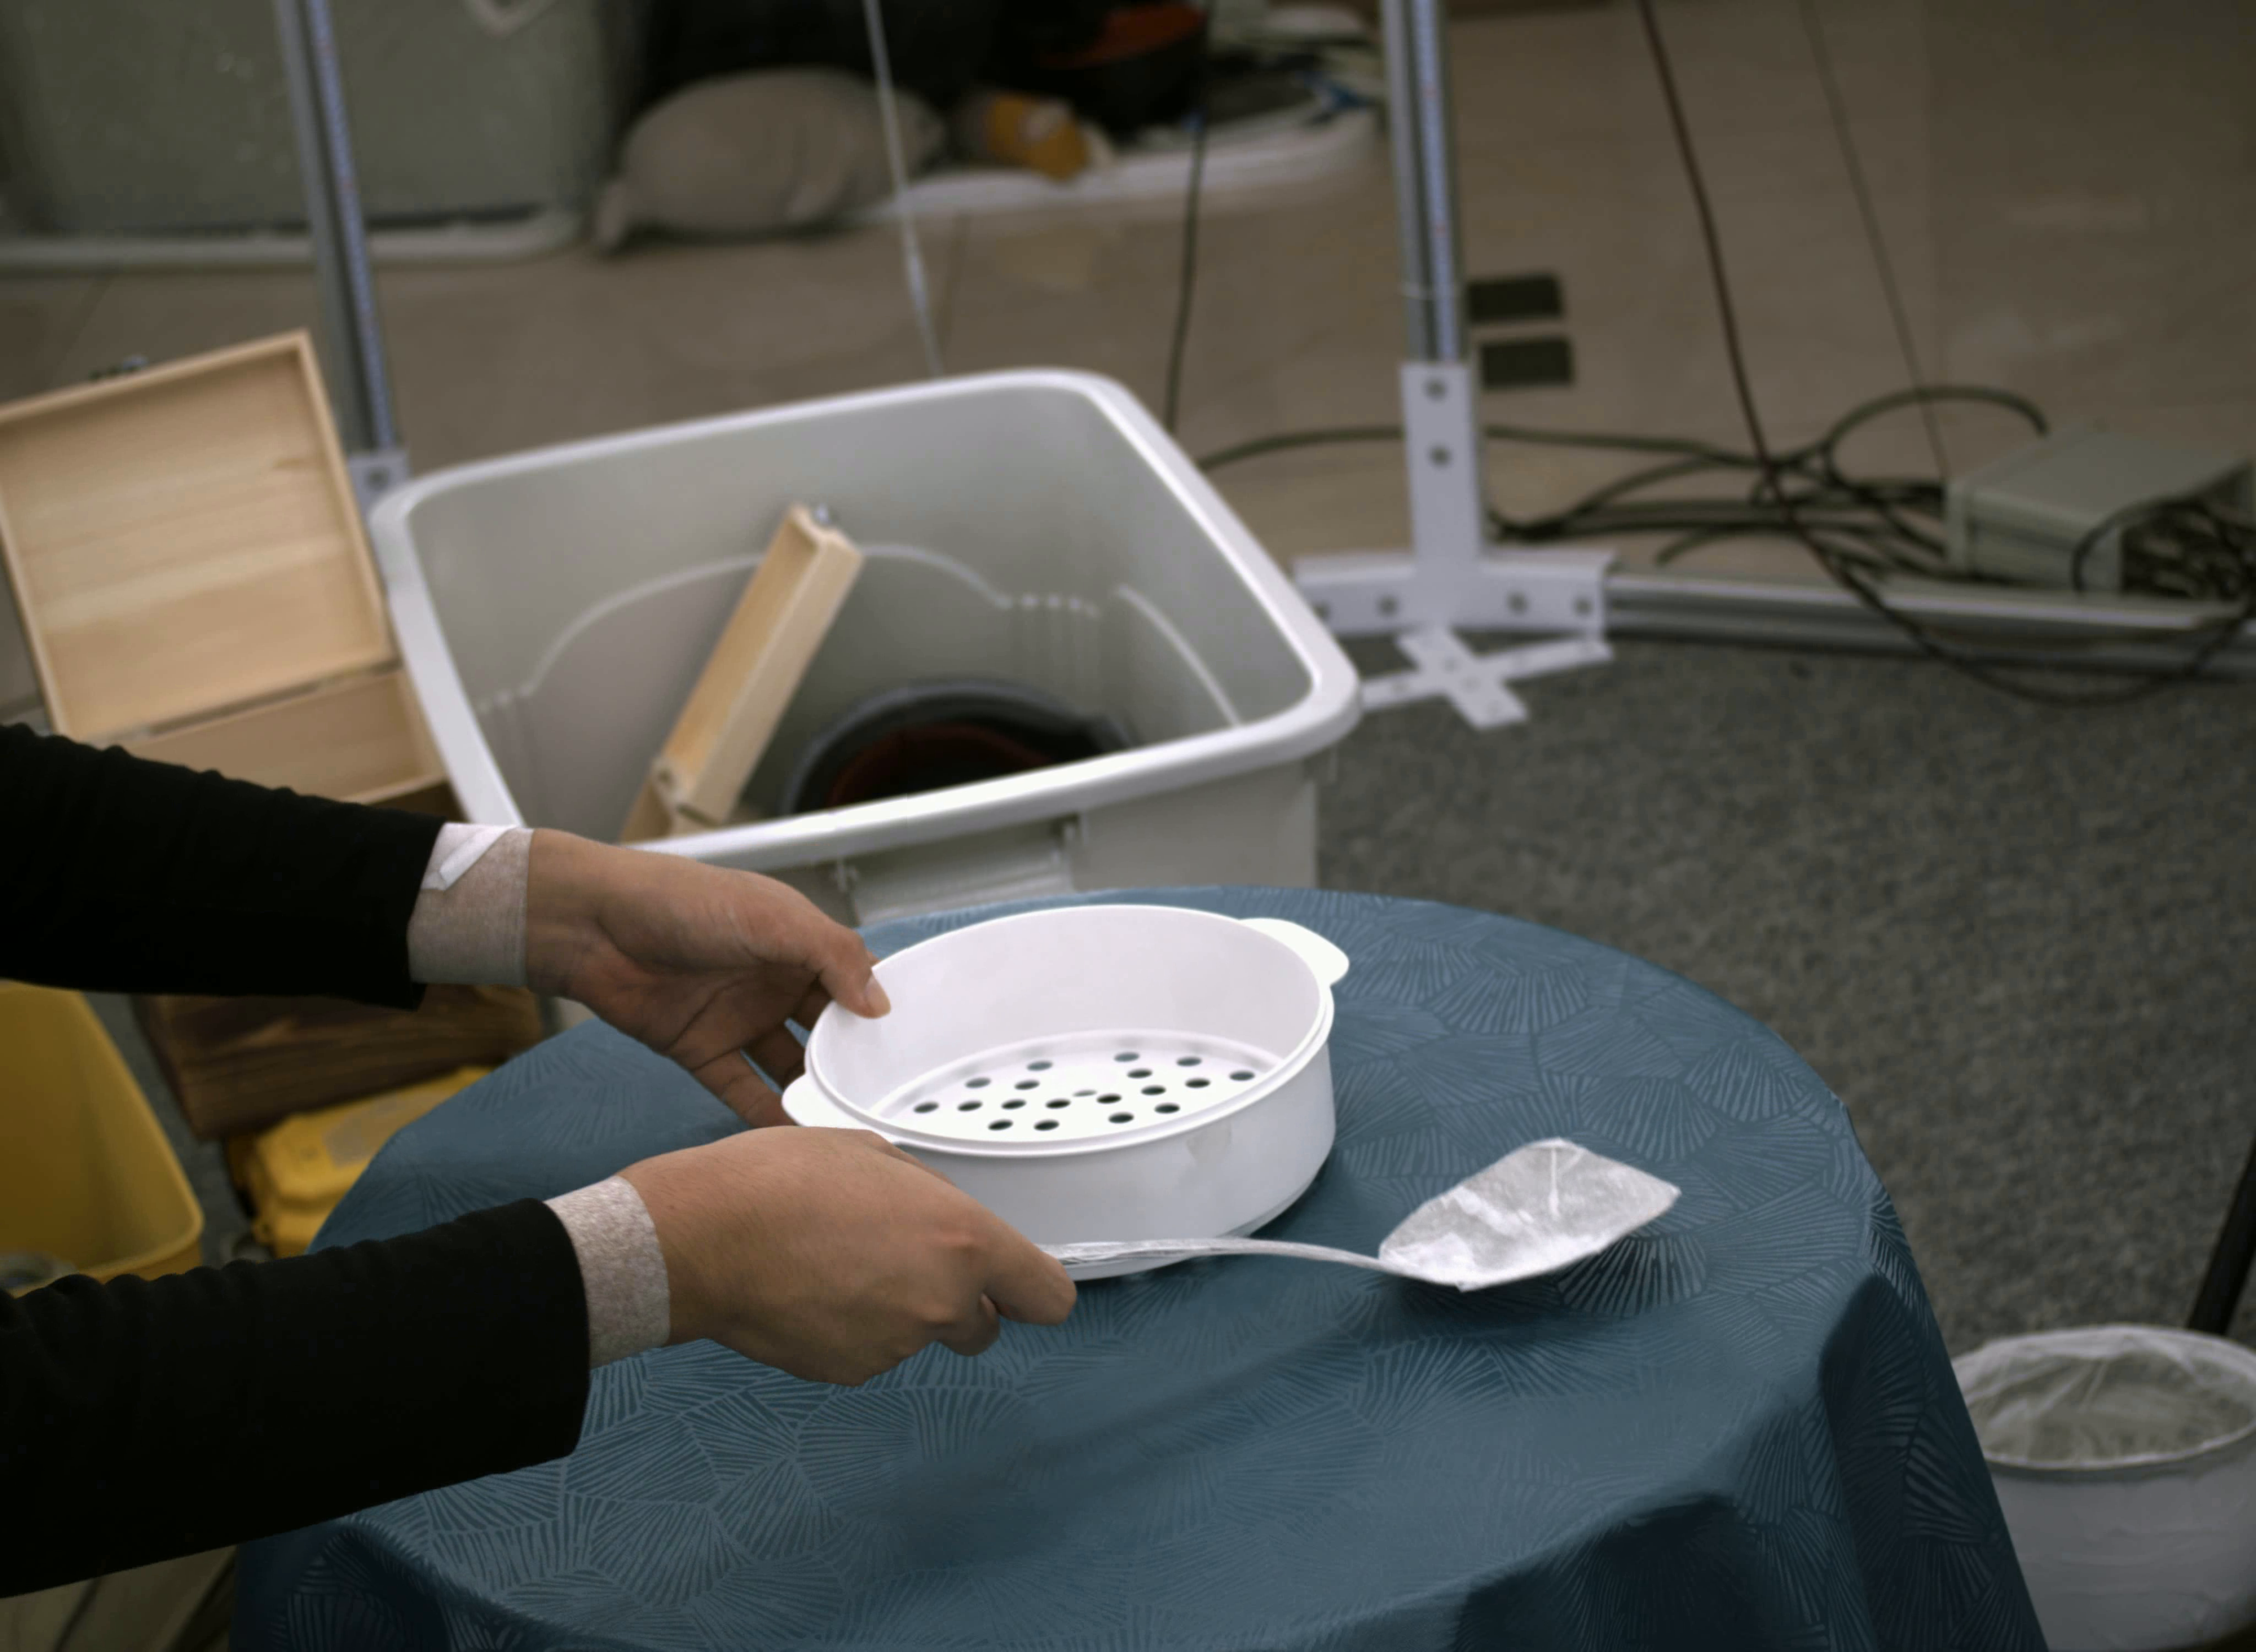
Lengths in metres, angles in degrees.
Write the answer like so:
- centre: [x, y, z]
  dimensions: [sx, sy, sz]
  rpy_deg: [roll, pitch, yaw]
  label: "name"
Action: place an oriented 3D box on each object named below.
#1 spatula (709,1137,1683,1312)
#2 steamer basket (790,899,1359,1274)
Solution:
- centre: [0.025, 0.145, 1.999]
  dimensions: [0.364, 0.045, 0.098]
  rpy_deg: [0, 13, -28]
  label: "spatula"
- centre: [-0.015, 0.100, 2.152]
  dimensions: [0.229, 0.070, 0.200]
  rpy_deg: [-19, 27, -24]
  label: "steamer basket"
